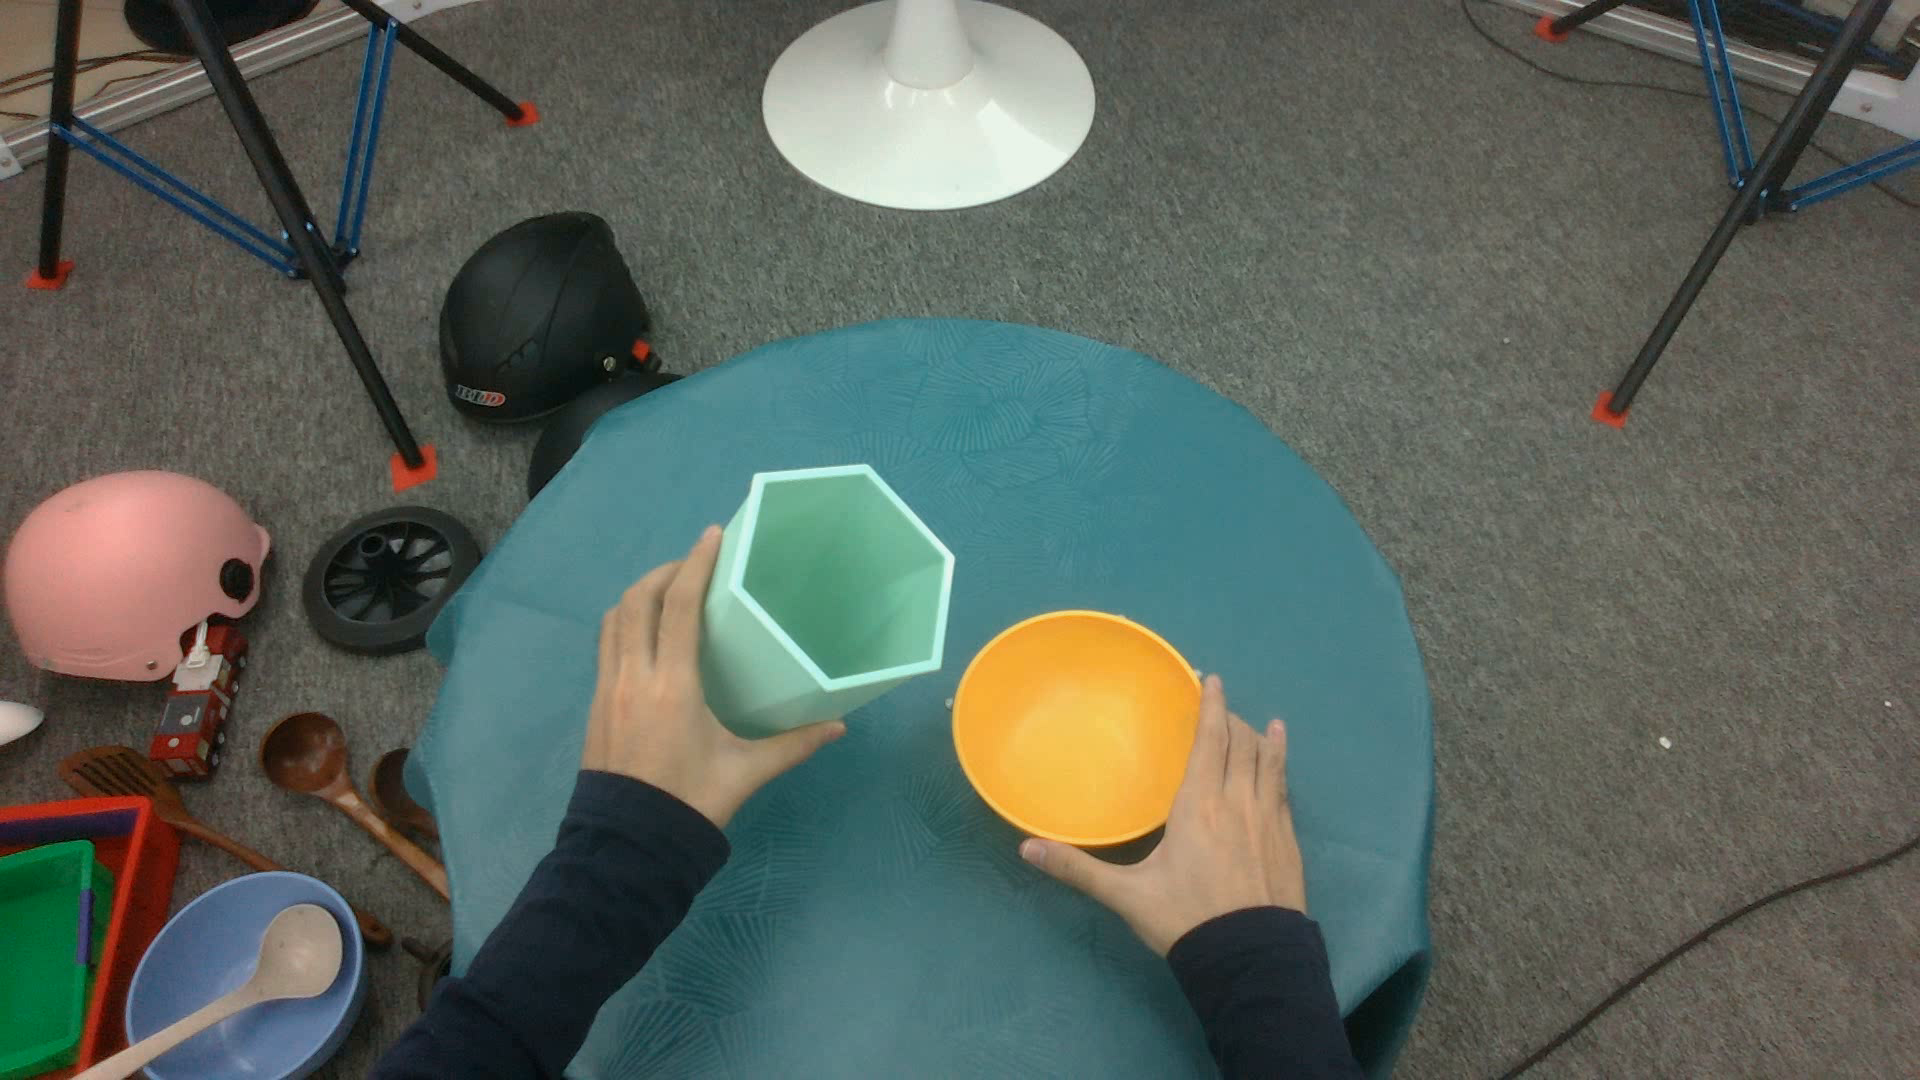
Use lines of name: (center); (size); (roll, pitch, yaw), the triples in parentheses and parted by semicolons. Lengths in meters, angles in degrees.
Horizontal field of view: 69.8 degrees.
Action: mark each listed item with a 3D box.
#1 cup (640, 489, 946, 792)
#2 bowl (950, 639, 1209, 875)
cup: (-0.099, 0.062, 0.744); (0.131, 0.162, 0.116); (45, 49, -3)
bowl: (0.068, 0.133, 0.795); (0.145, 0.060, 0.146); (-1, 55, 2)
